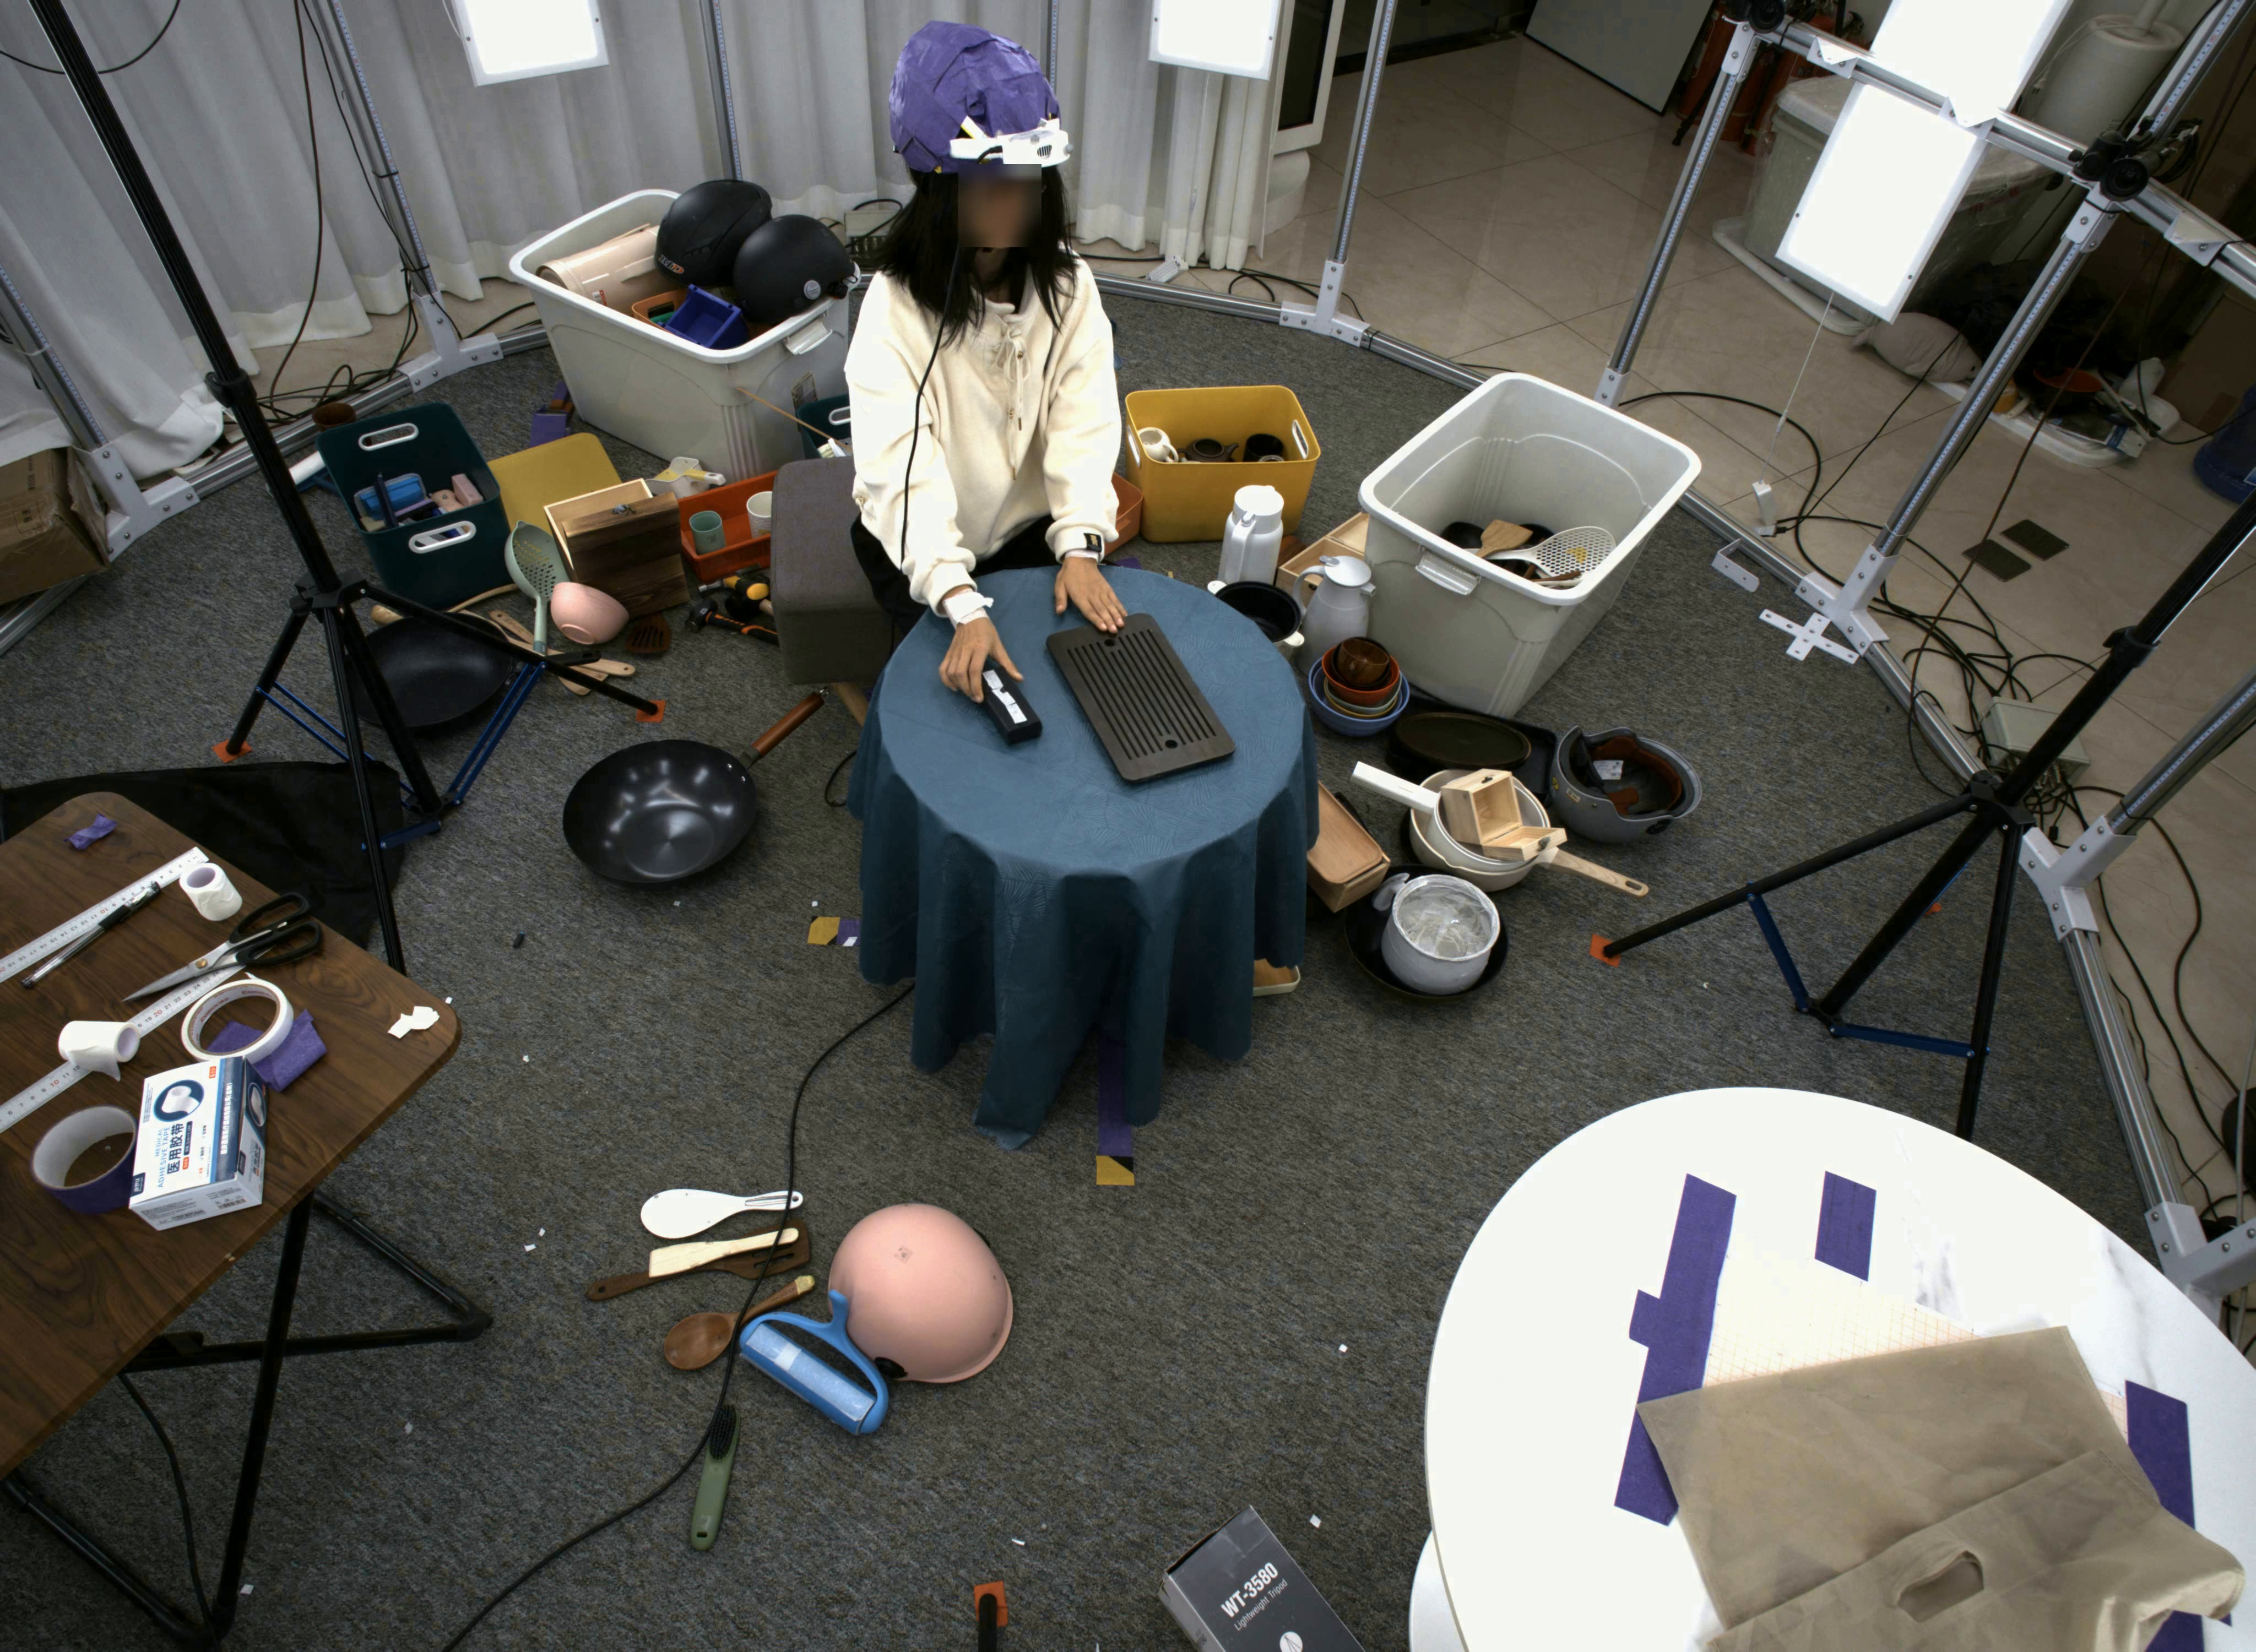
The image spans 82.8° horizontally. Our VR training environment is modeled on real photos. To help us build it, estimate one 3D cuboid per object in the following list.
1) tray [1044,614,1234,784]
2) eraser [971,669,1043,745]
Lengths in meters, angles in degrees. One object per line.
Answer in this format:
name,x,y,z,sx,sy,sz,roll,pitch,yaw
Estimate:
tray,0.011,-0.184,1.819,0.170,0.018,0.313,-16,52,-17
eraser,-0.169,-0.167,1.786,0.053,0.030,0.128,-19,52,-22
